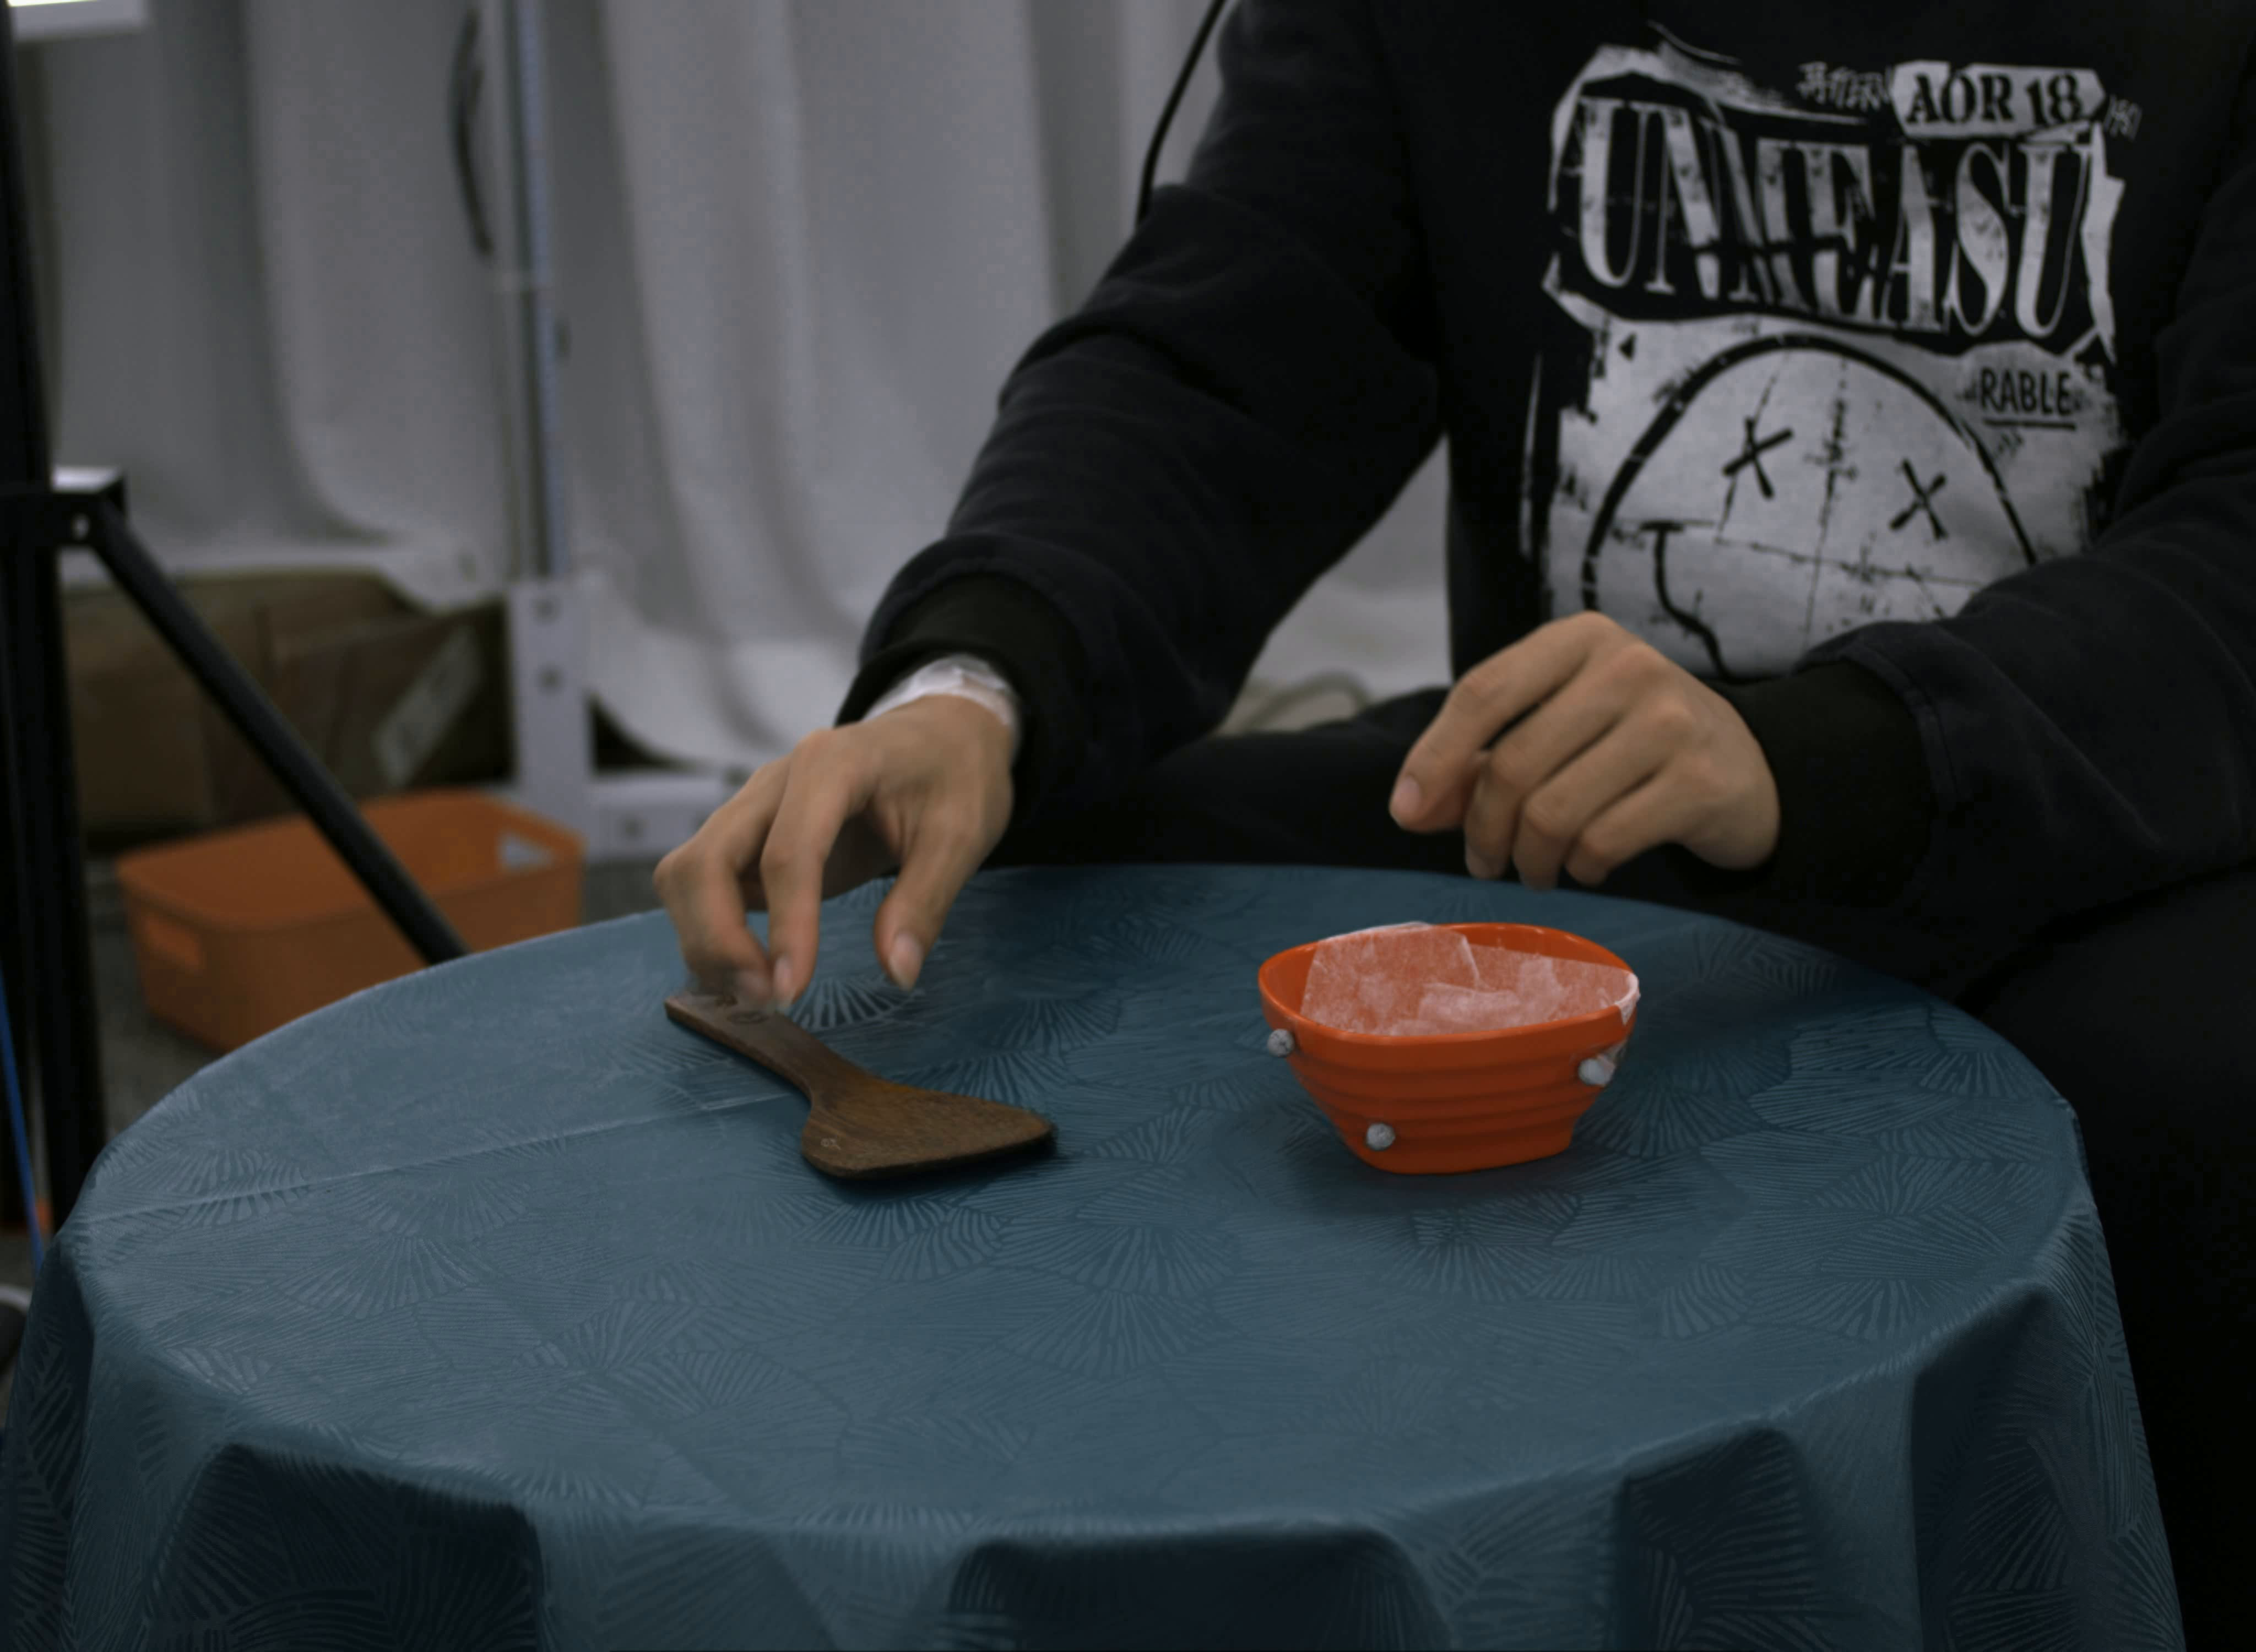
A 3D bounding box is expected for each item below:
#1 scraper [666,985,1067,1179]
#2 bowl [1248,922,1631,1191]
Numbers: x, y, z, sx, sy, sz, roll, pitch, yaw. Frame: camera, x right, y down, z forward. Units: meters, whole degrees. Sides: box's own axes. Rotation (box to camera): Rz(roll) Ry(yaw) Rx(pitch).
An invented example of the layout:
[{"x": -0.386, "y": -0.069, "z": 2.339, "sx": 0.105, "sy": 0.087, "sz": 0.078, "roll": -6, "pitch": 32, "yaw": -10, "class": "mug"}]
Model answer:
[{"x": -0.094, "y": 0.078, "z": 1.664, "sx": 0.074, "sy": 0.011, "sz": 0.215, "roll": -9, "pitch": 16, "yaw": -25, "class": "scraper"}, {"x": 0.095, "y": 0.072, "z": 1.591, "sx": 0.118, "sy": 0.051, "sz": 0.119, "roll": -6, "pitch": 18, "yaw": 1, "class": "bowl"}]
